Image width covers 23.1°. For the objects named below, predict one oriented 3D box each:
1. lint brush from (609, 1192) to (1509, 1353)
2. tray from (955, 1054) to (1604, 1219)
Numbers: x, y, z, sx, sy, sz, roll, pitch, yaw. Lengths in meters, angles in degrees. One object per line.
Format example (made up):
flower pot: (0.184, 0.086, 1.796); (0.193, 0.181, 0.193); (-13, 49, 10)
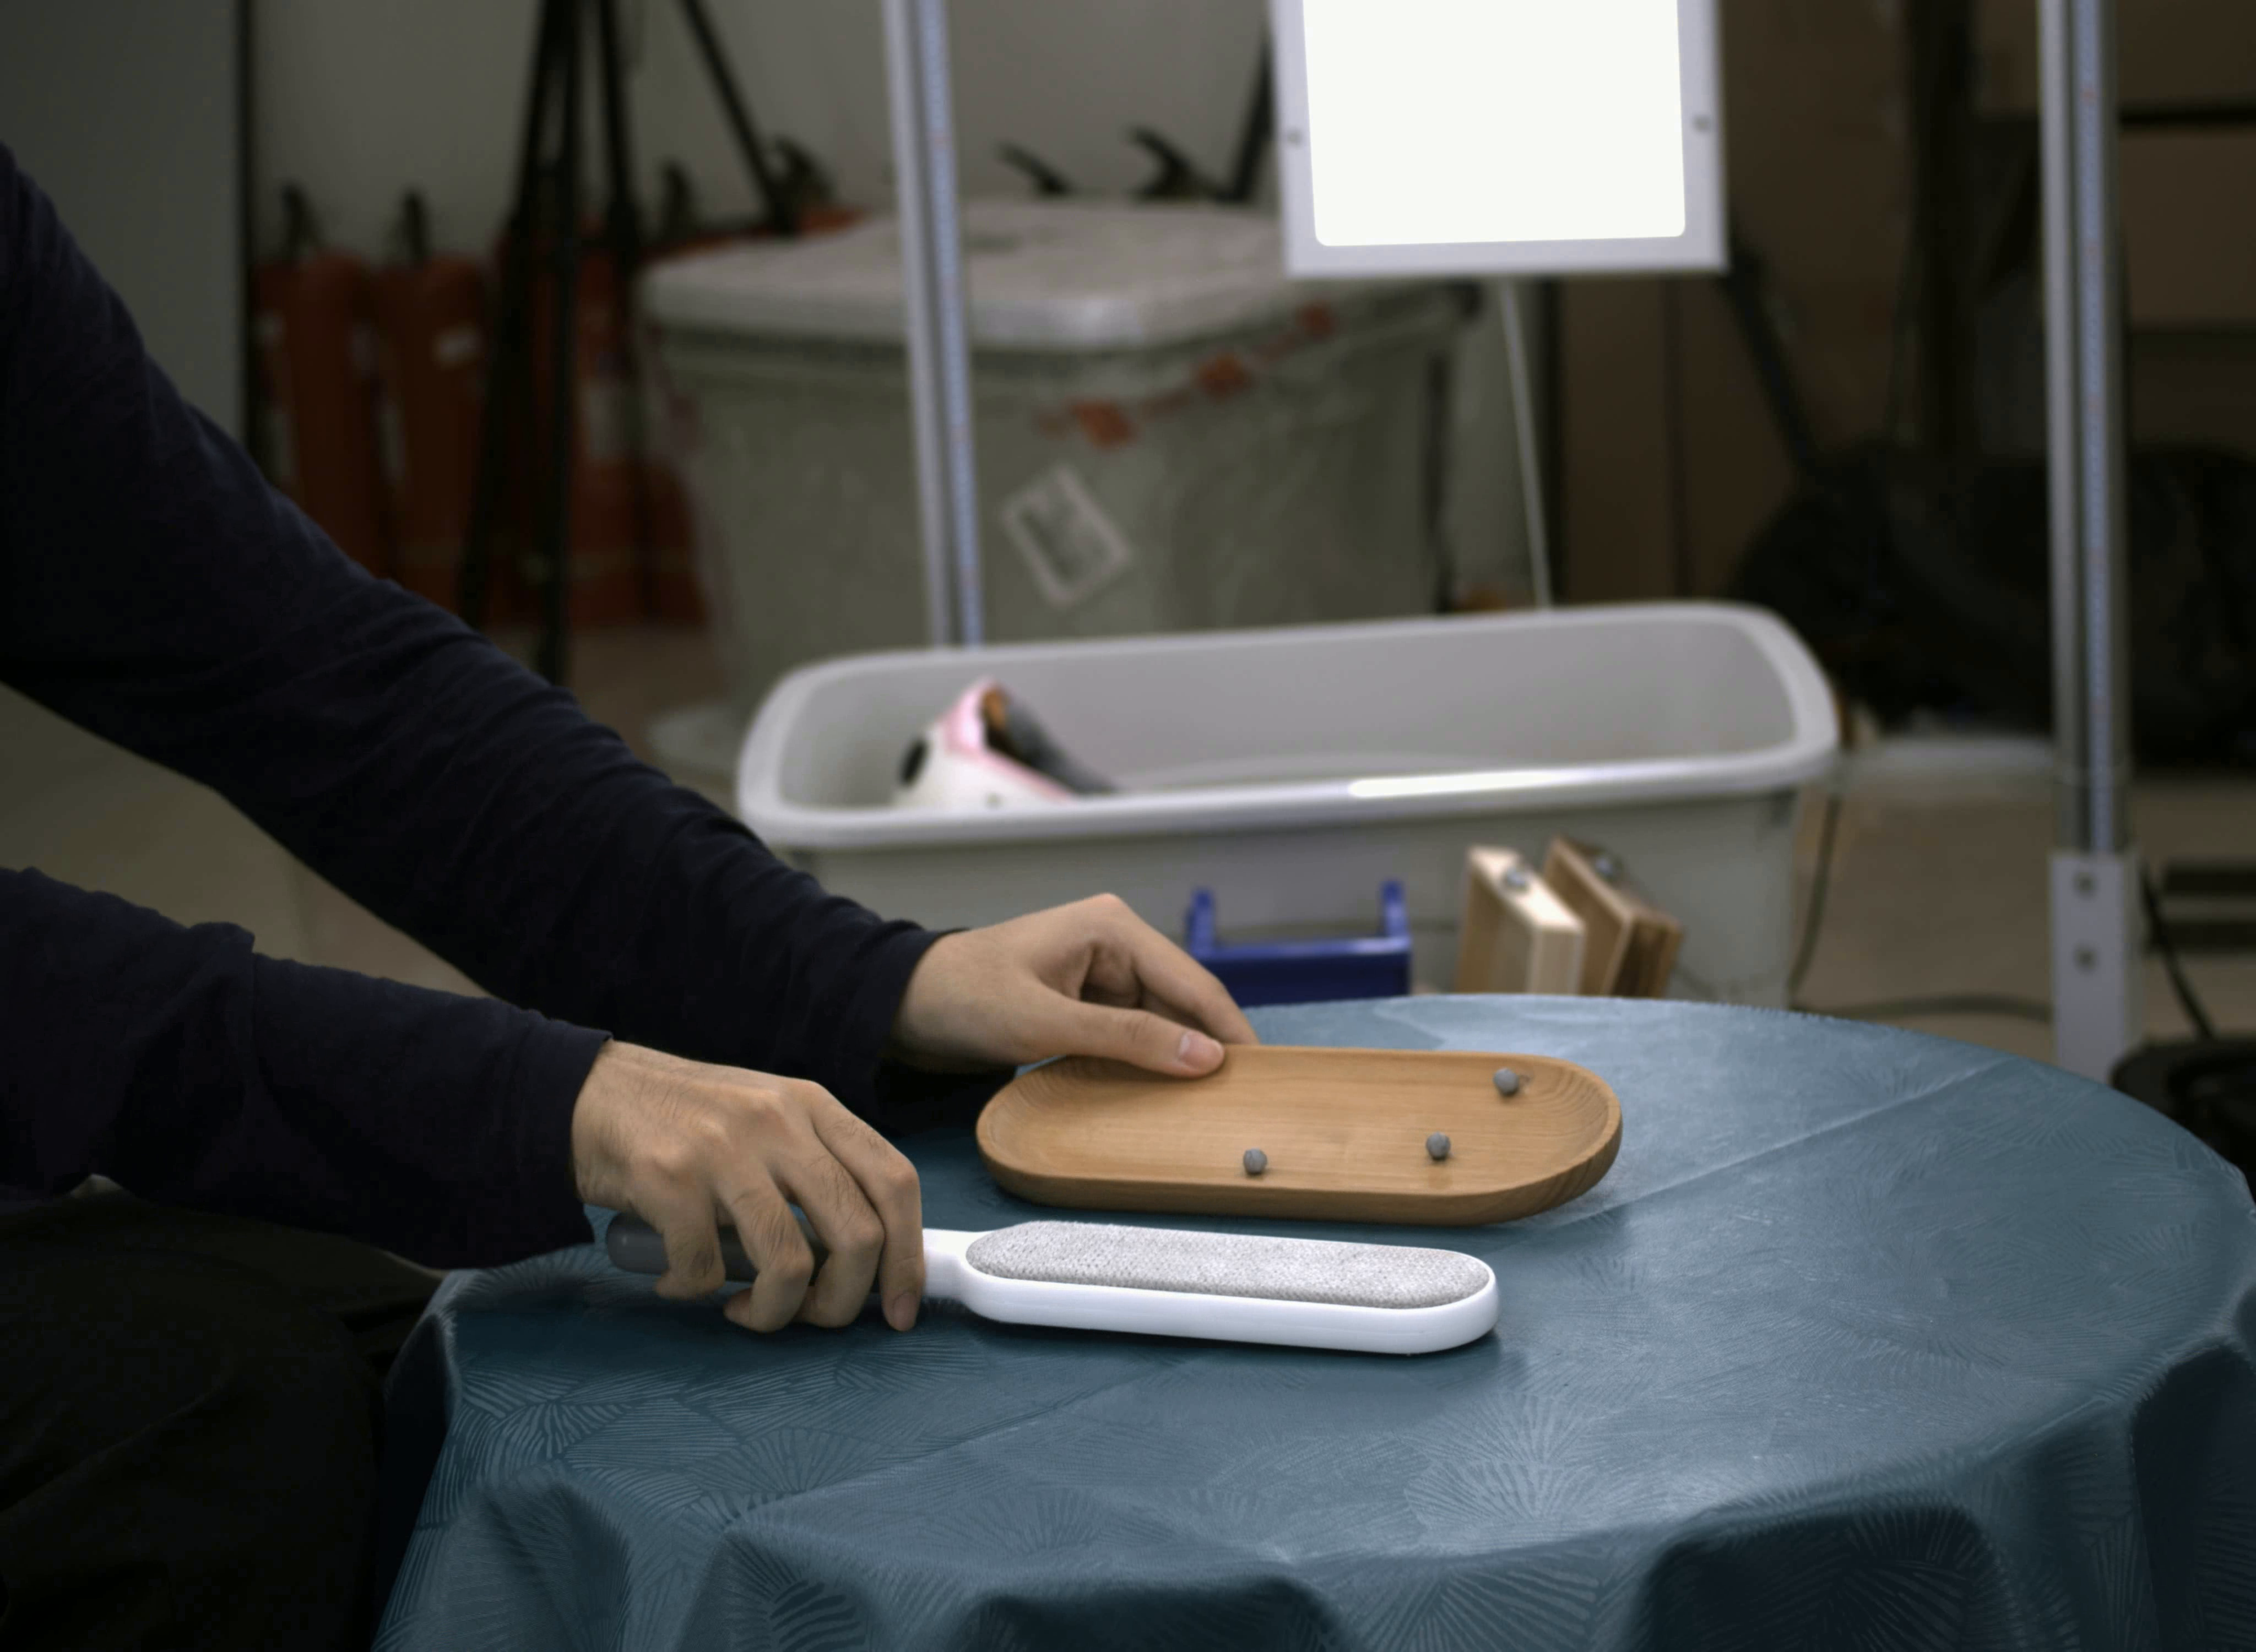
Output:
lint brush: (-0.027, 0.140, 1.779); (0.313, 0.021, 0.059); (3, 24, 23)
tray: (0.052, 0.107, 1.893); (0.234, 0.020, 0.100); (-1, 21, 23)
